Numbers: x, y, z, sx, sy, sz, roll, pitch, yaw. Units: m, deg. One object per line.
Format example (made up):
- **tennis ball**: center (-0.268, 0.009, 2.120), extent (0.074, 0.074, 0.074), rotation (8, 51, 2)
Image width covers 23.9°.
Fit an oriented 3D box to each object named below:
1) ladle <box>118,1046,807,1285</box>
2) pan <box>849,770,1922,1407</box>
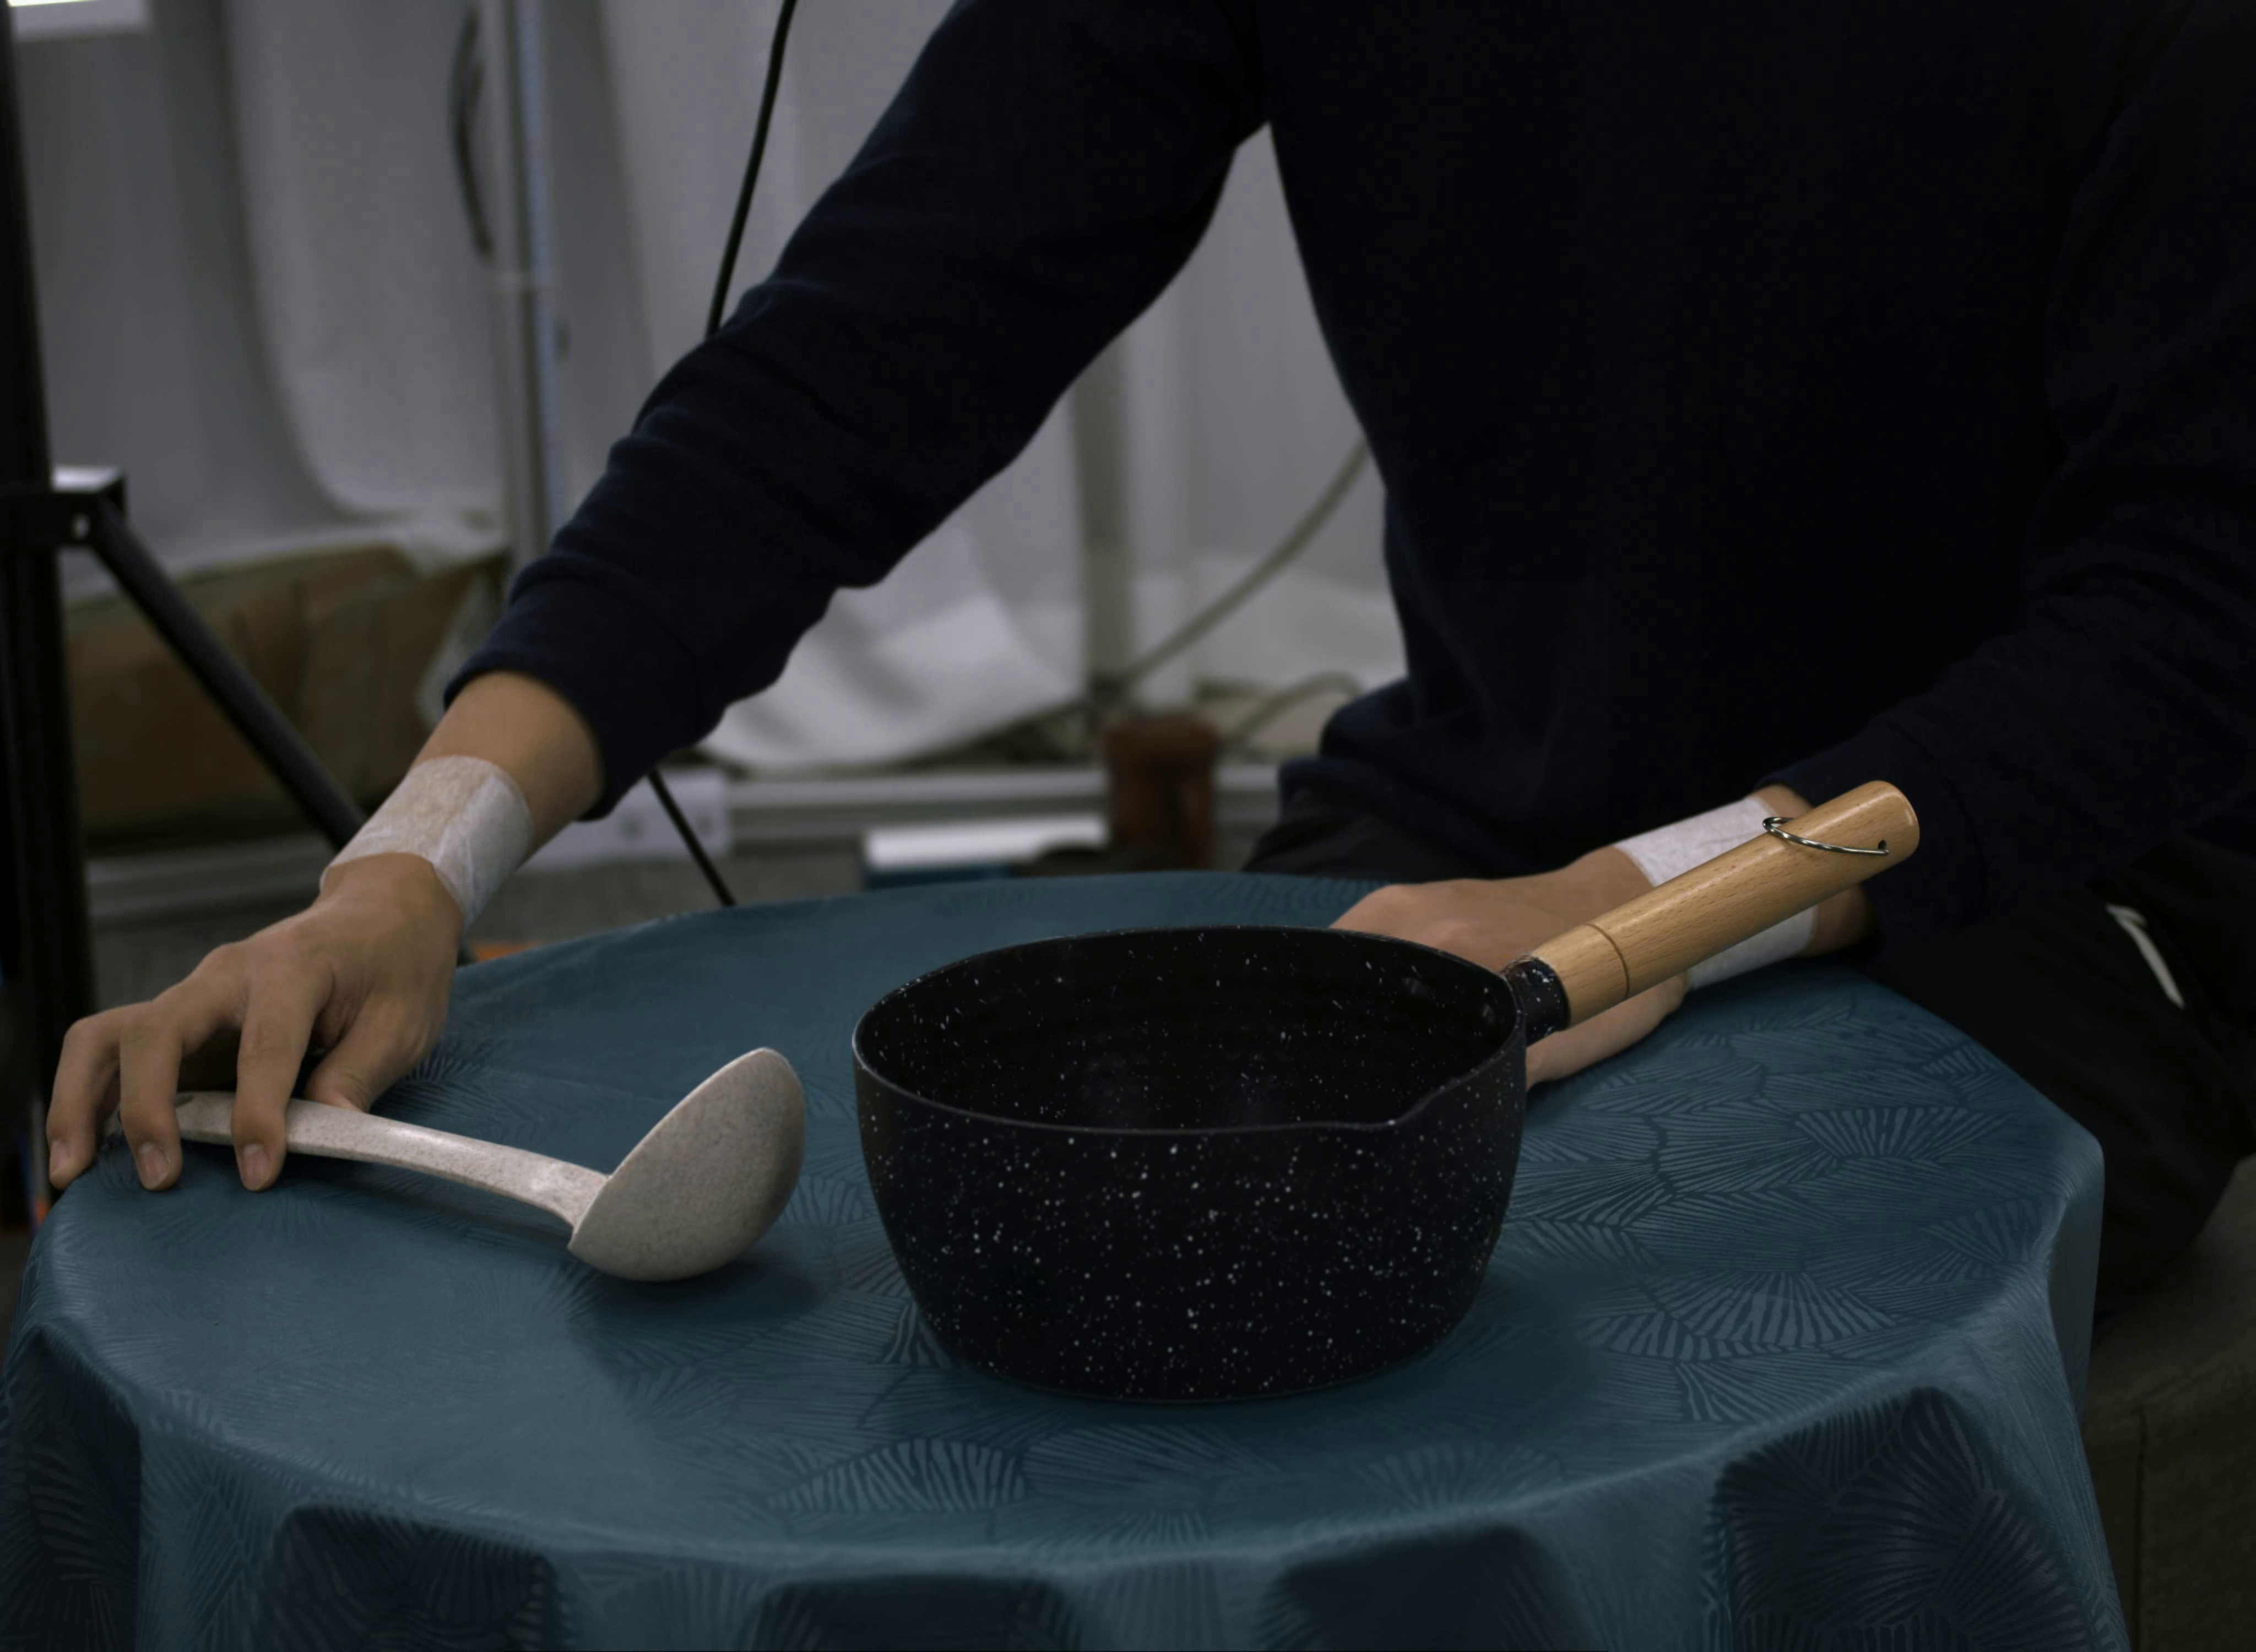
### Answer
- **ladle**: center (-0.209, 0.078, 1.570), extent (0.281, 0.069, 0.088), rotation (11, 35, 38)
- **pan**: center (0.084, 0.068, 1.487), extent (0.335, 0.108, 0.212), rotation (-13, 18, -29)
